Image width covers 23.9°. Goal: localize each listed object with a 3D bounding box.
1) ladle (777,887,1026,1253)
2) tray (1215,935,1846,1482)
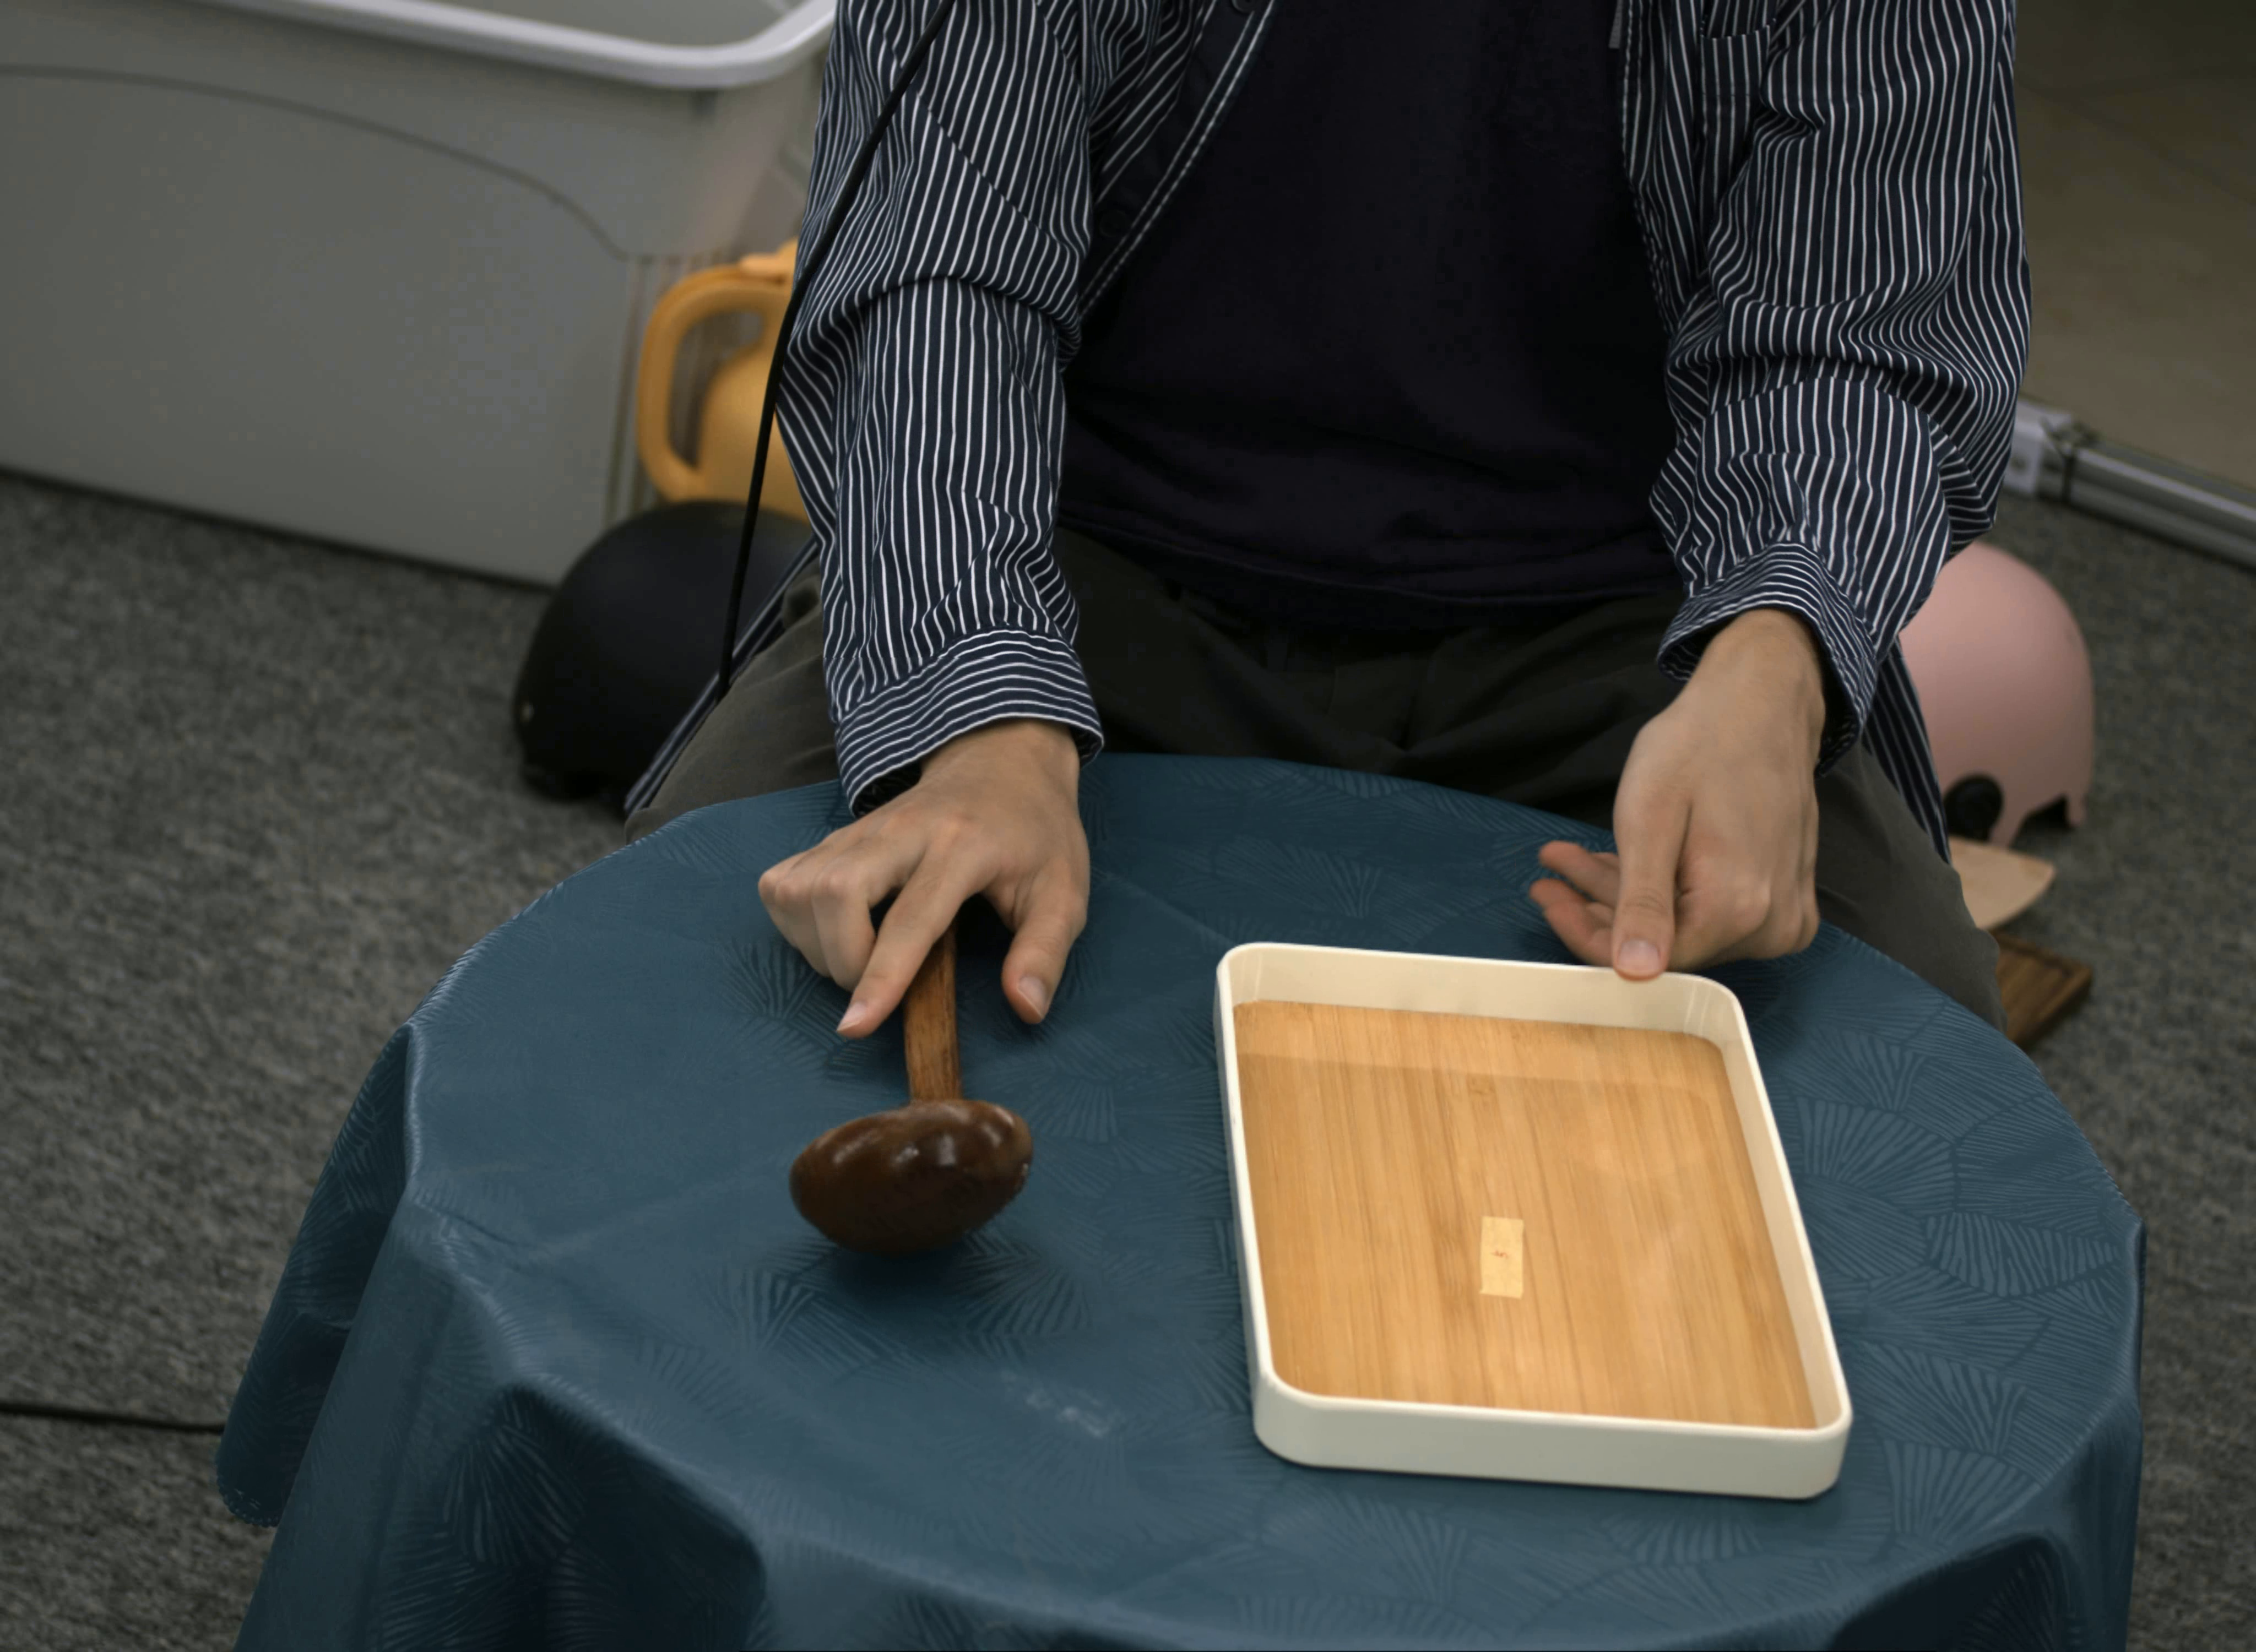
[{"bbox_3d":[-0.074,0.063,1.819,0.082,0.076,0.276,-11,27,5],"label":"ladle"},{"bbox_3d":[0.129,0.124,1.799,0.191,0.027,0.302,4,26,-3],"label":"tray"}]
